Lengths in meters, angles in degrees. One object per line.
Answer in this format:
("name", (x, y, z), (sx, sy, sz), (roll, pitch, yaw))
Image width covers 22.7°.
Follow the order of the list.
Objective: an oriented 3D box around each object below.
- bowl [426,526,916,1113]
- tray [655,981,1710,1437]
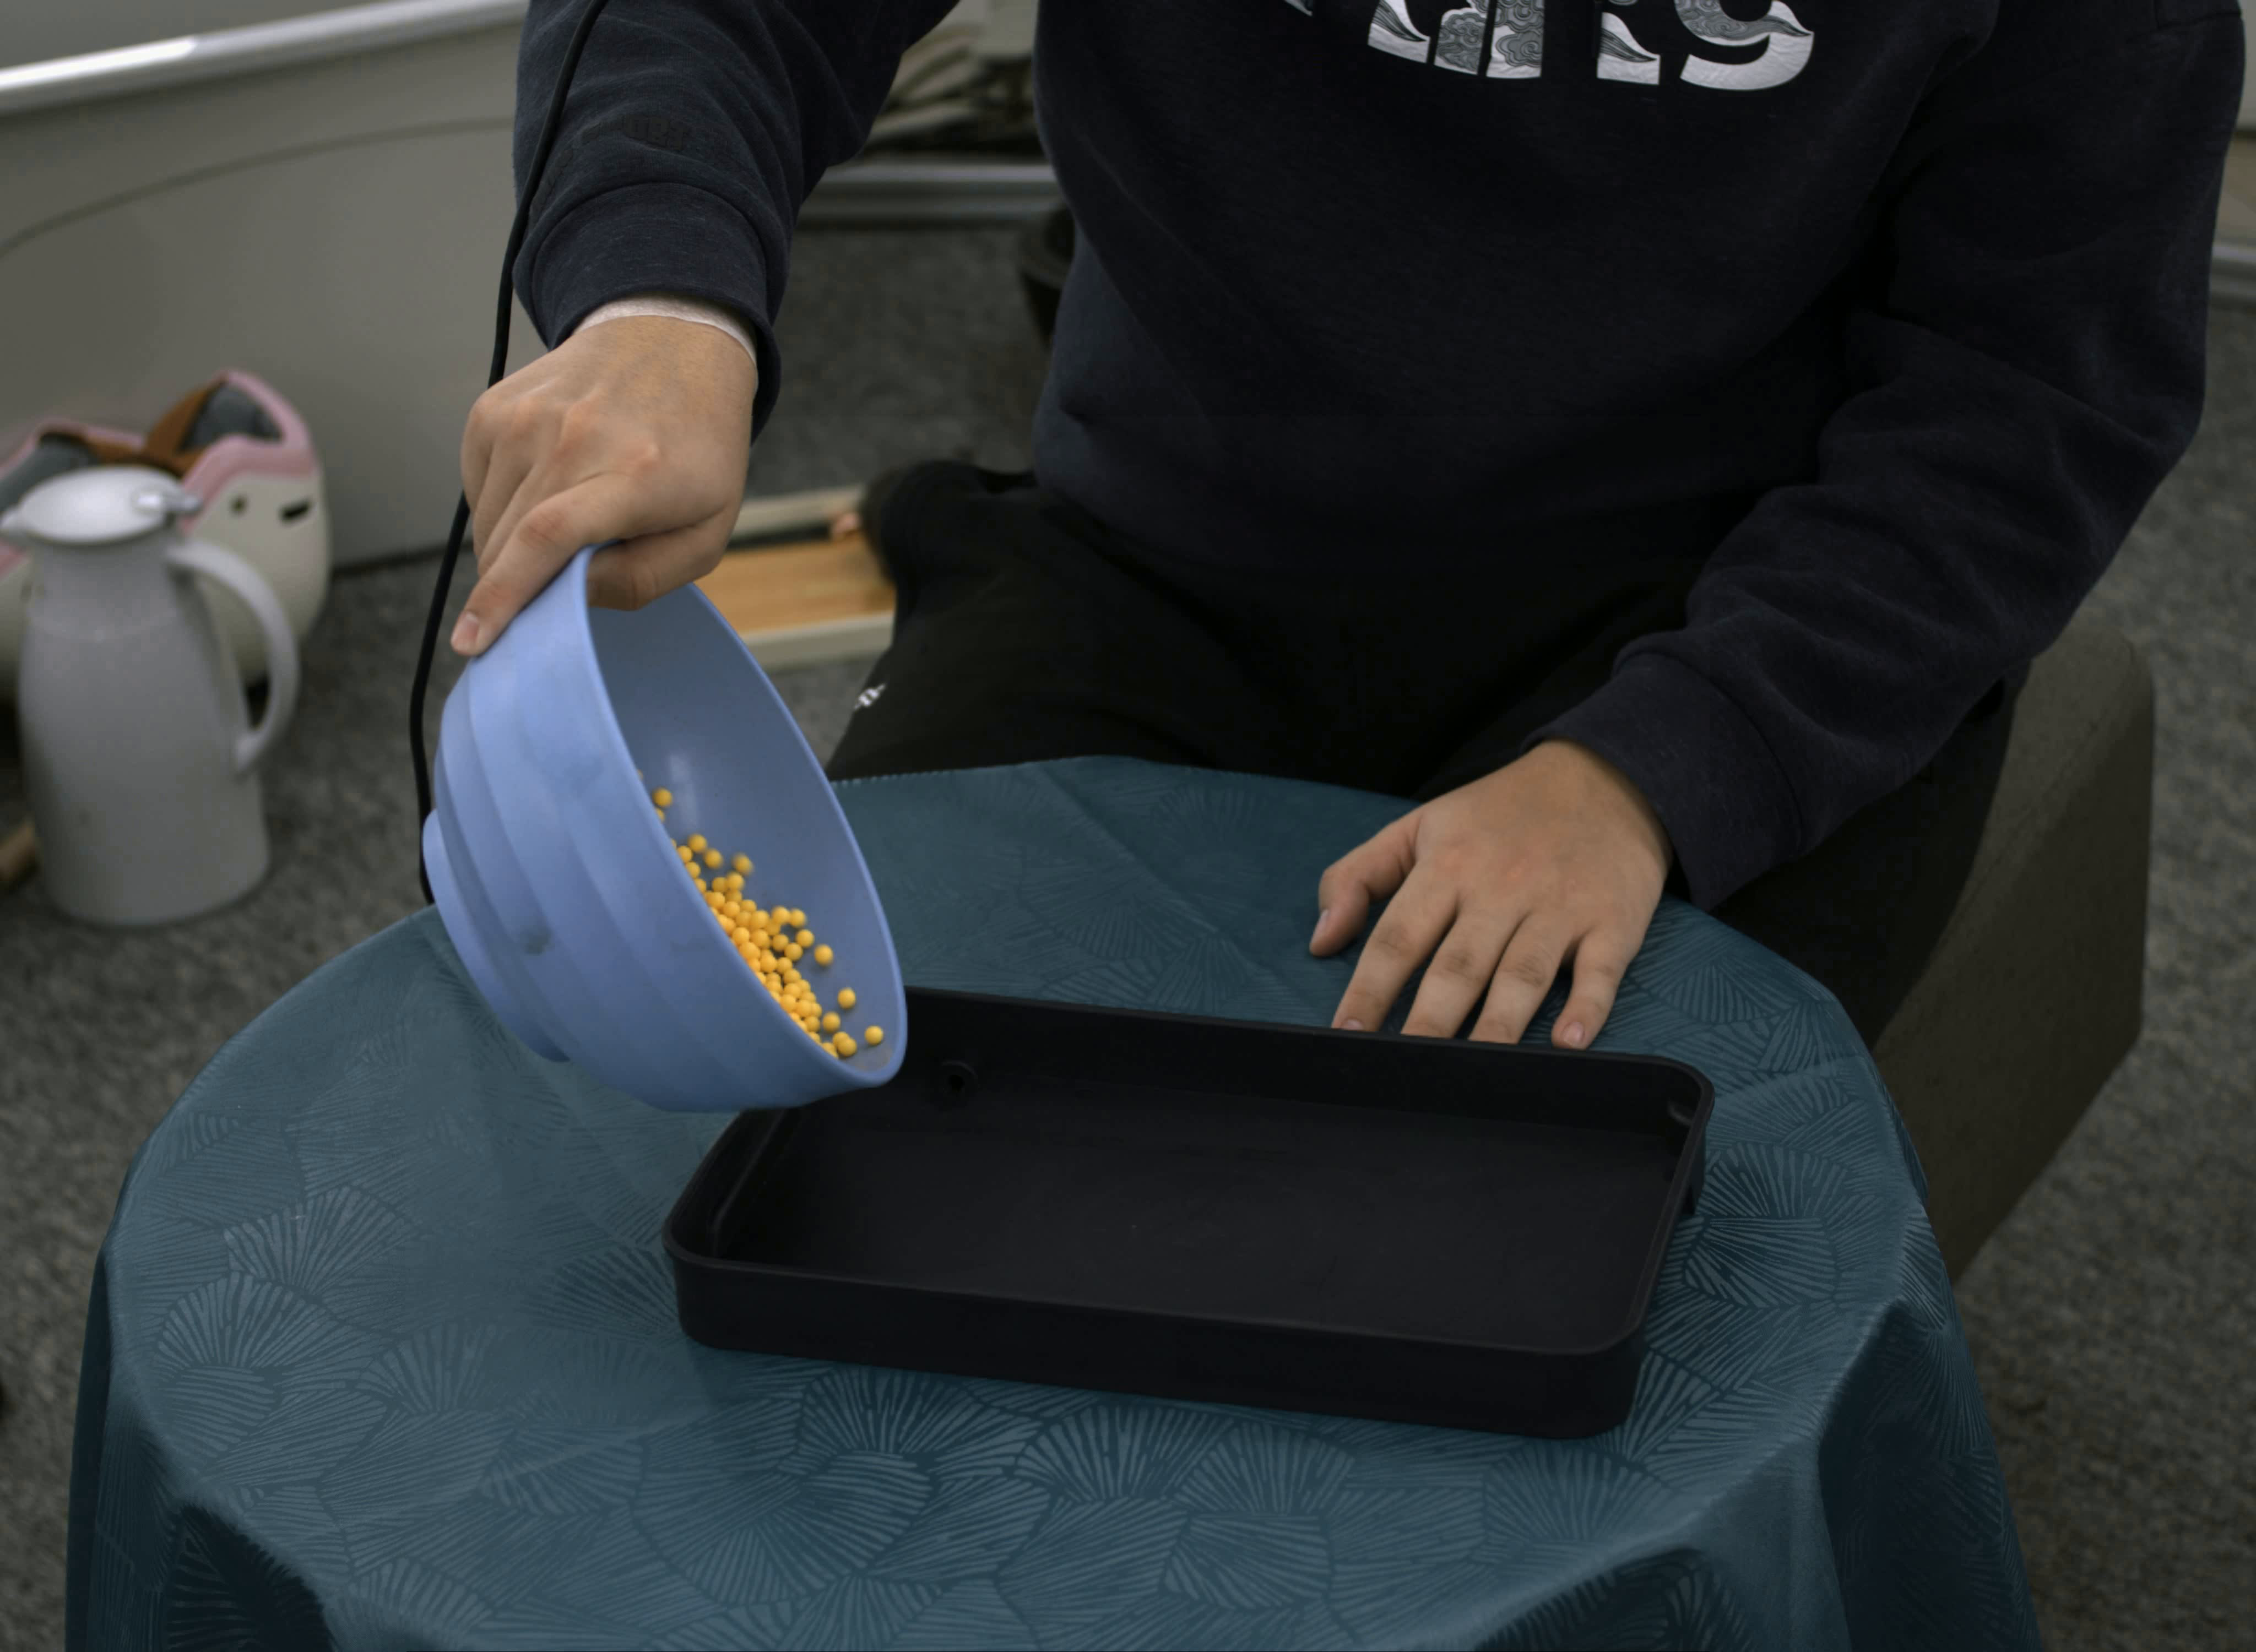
("bowl", (-0.159, 0.013, 1.788), (0.094, 0.195, 0.199), (-28, 23, 14))
("tray", (0.020, 0.120, 1.824), (0.316, 0.036, 0.187), (5, 28, 14))
